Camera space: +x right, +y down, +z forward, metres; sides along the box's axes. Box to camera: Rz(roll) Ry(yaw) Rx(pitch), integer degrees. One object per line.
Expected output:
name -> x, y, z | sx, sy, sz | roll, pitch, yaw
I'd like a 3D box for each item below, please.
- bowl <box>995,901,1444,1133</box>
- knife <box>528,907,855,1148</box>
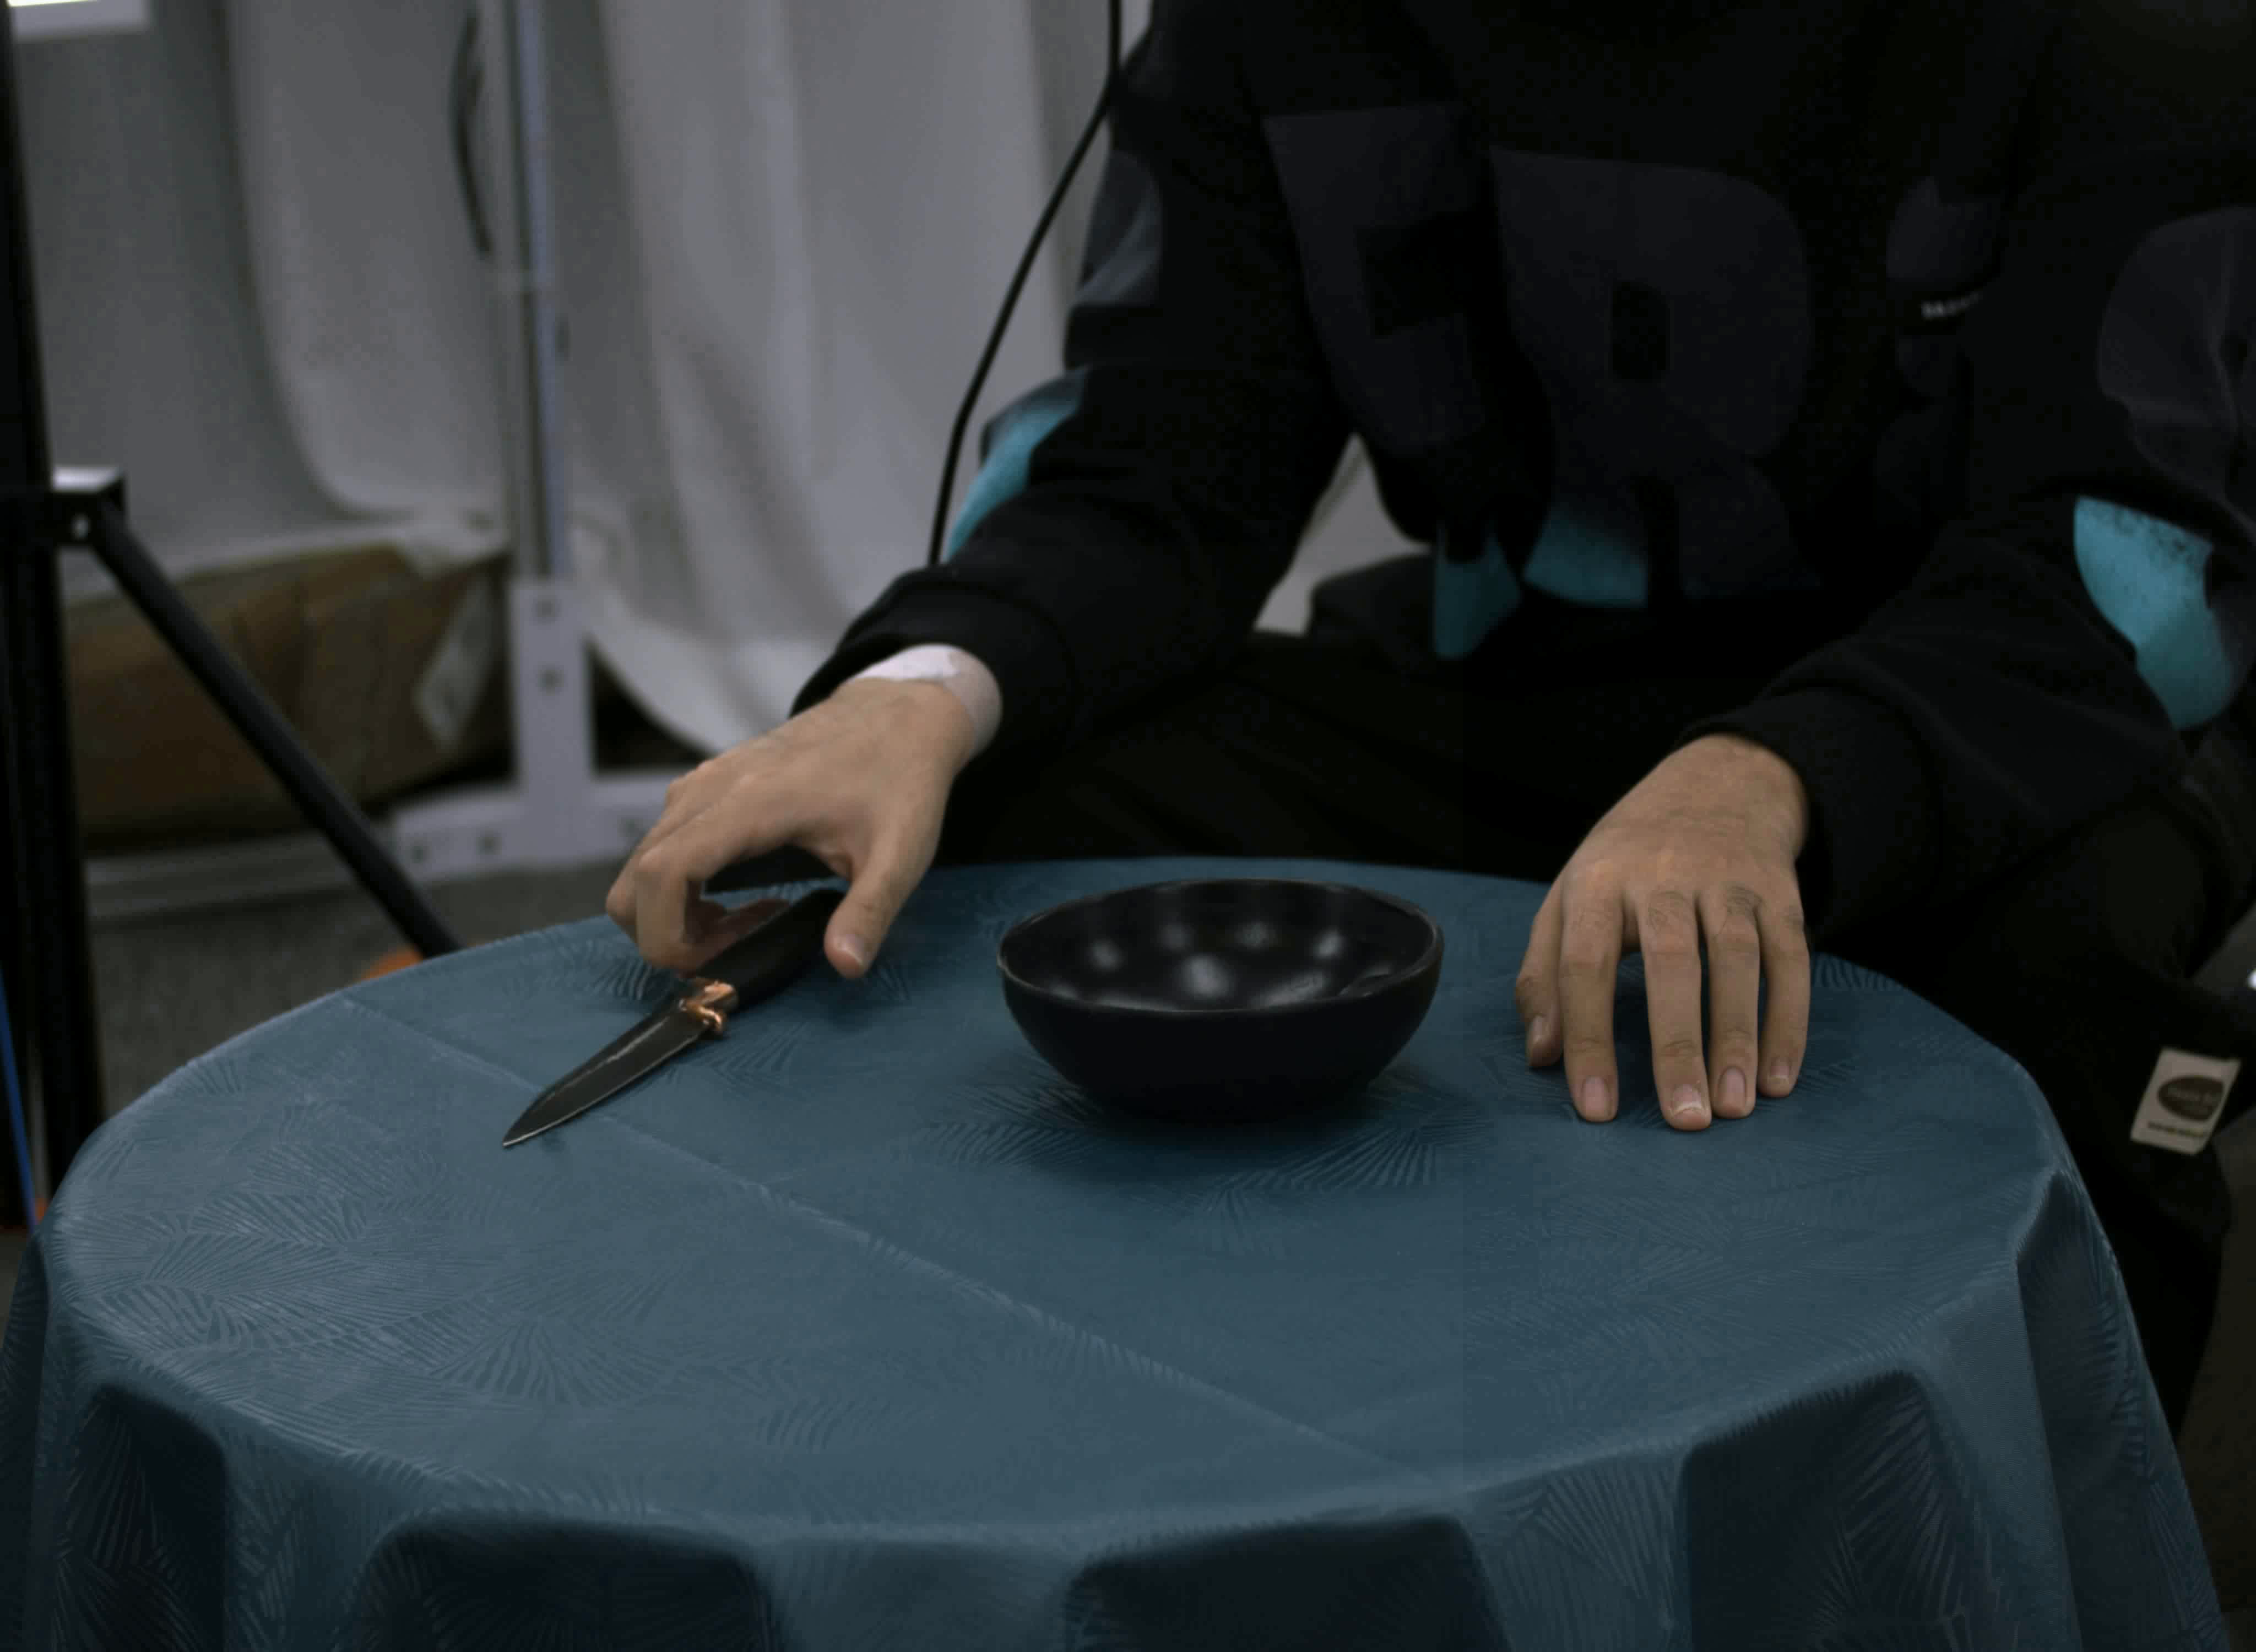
bowl -> 0.029, 0.062, 1.635 | 0.139, 0.050, 0.140 | -3, 11, -1
knife -> -0.142, 0.064, 1.716 | 0.026, 0.017, 0.222 | 7, 19, 22
